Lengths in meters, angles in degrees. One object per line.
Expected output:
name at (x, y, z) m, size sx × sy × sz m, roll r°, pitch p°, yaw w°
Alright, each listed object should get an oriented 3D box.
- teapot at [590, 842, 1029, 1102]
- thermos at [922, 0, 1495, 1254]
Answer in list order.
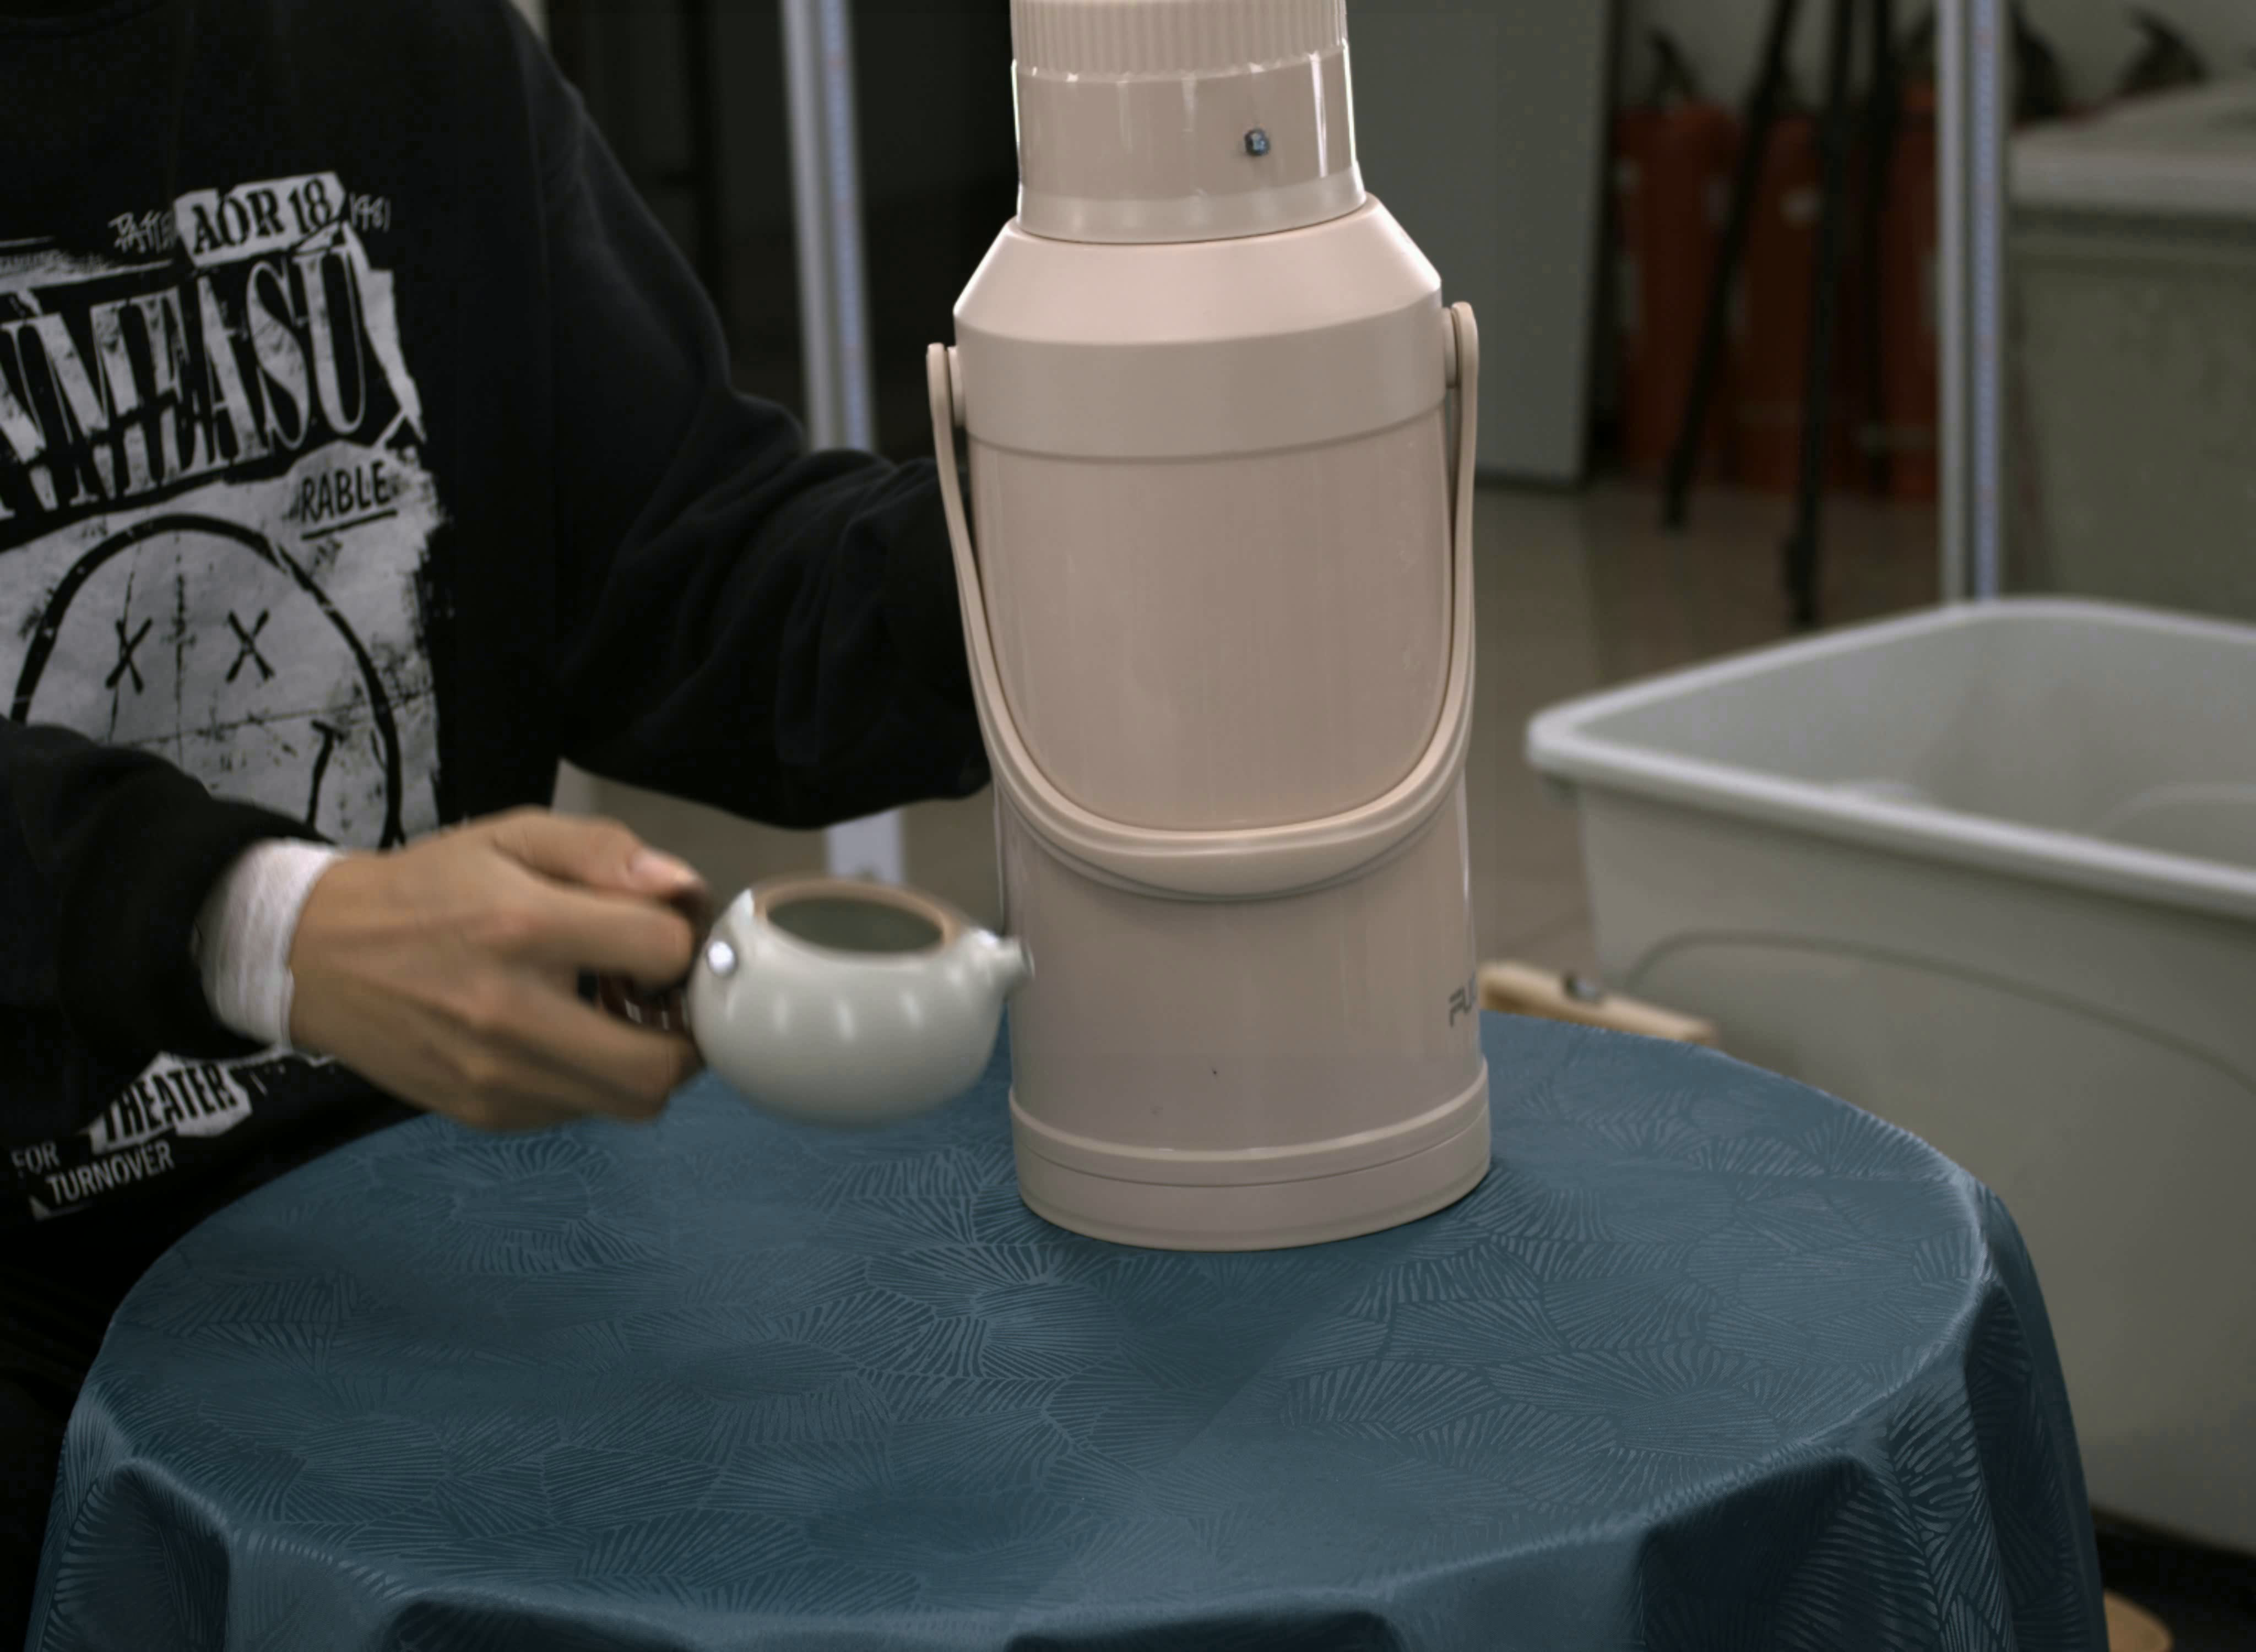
teapot at (-0.094, 0.041, 1.568) m, size 0.126 × 0.060 × 0.092 m, roll 10°, pitch 22°, yaw 2°
thermos at (0.028, -0.082, 1.745) m, size 0.173 × 0.410 × 0.208 m, roll -7°, pitch 15°, yaw -2°
